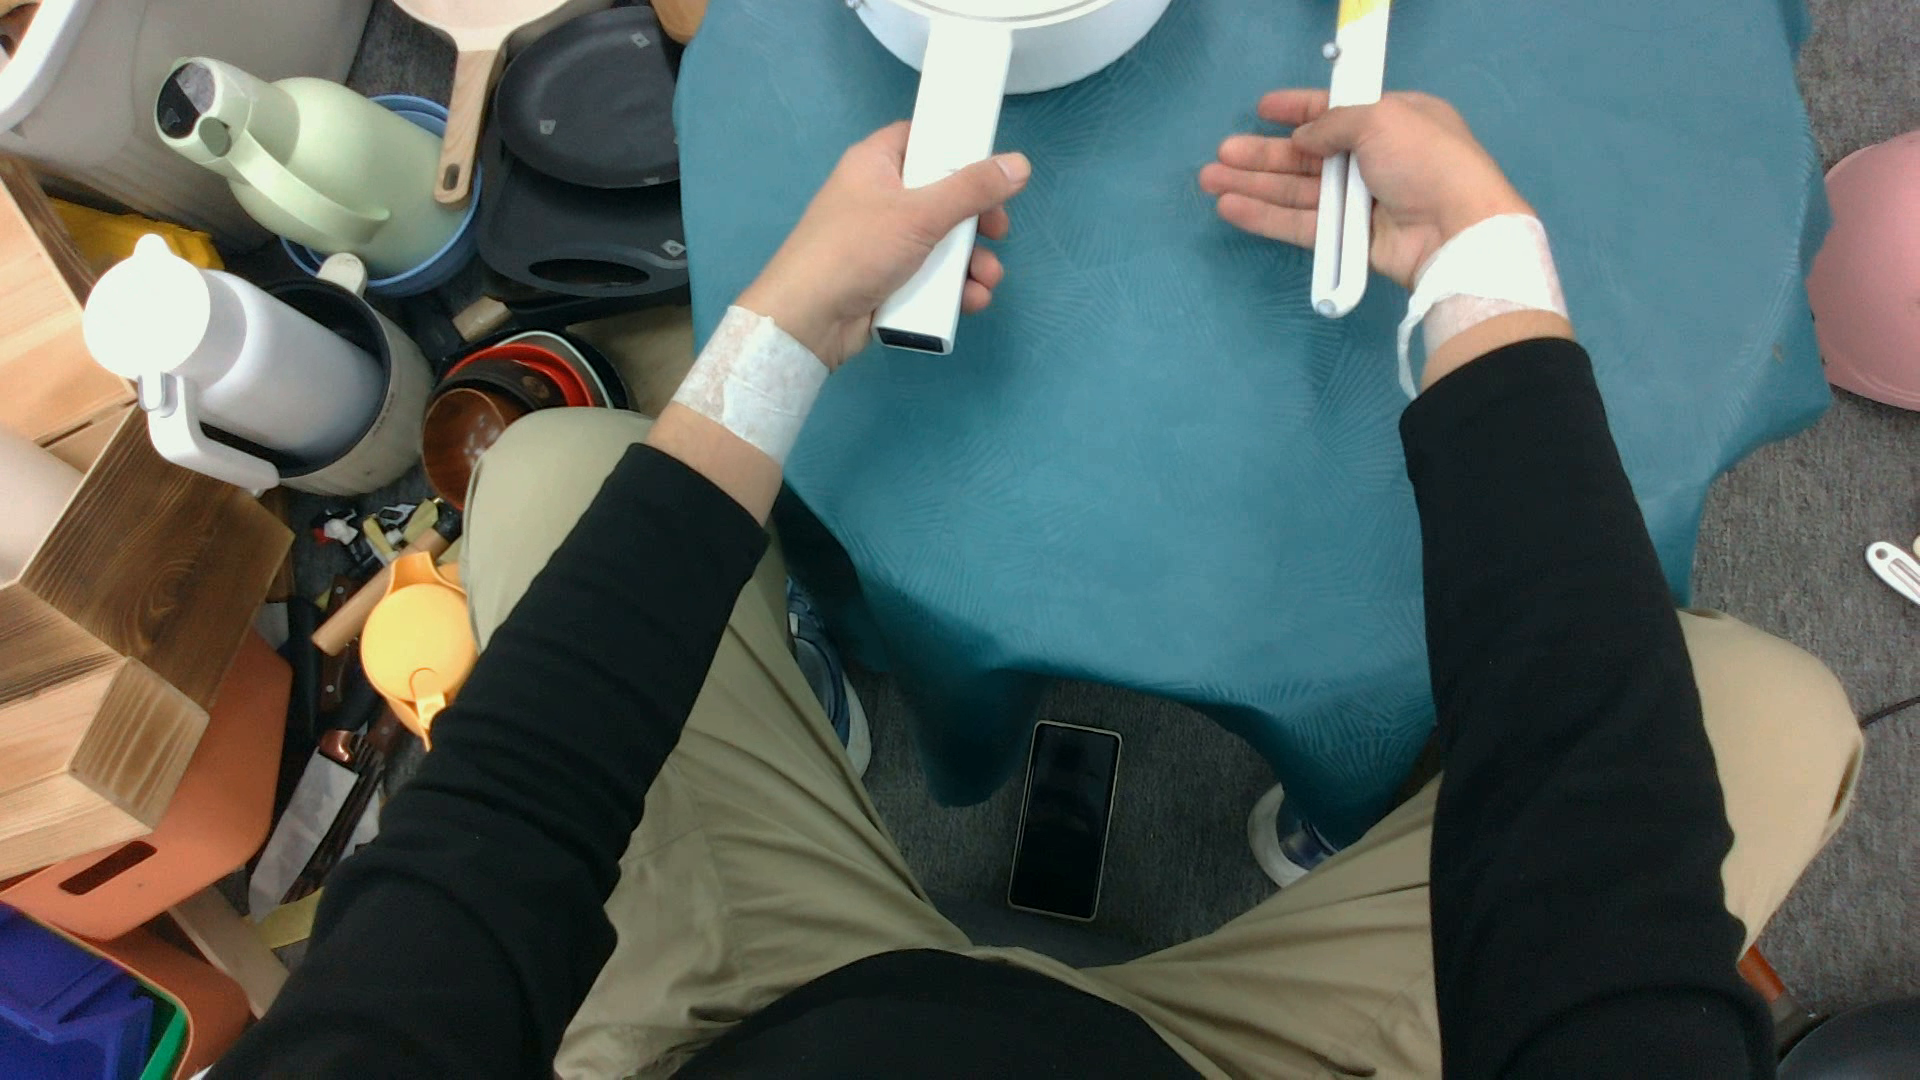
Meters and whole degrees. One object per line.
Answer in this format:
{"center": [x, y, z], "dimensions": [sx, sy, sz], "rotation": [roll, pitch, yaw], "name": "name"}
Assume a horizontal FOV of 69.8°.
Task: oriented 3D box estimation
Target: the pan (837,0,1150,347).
{"center": [0.003, -0.264, 0.708], "dimensions": [0.201, 0.102, 0.355], "rotation": [10, 82, 3], "name": "pan"}

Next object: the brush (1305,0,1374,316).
{"center": [0.185, -0.239, 0.685], "dimensions": [0.056, 0.068, 0.267], "rotation": [24, 69, -28], "name": "brush"}
